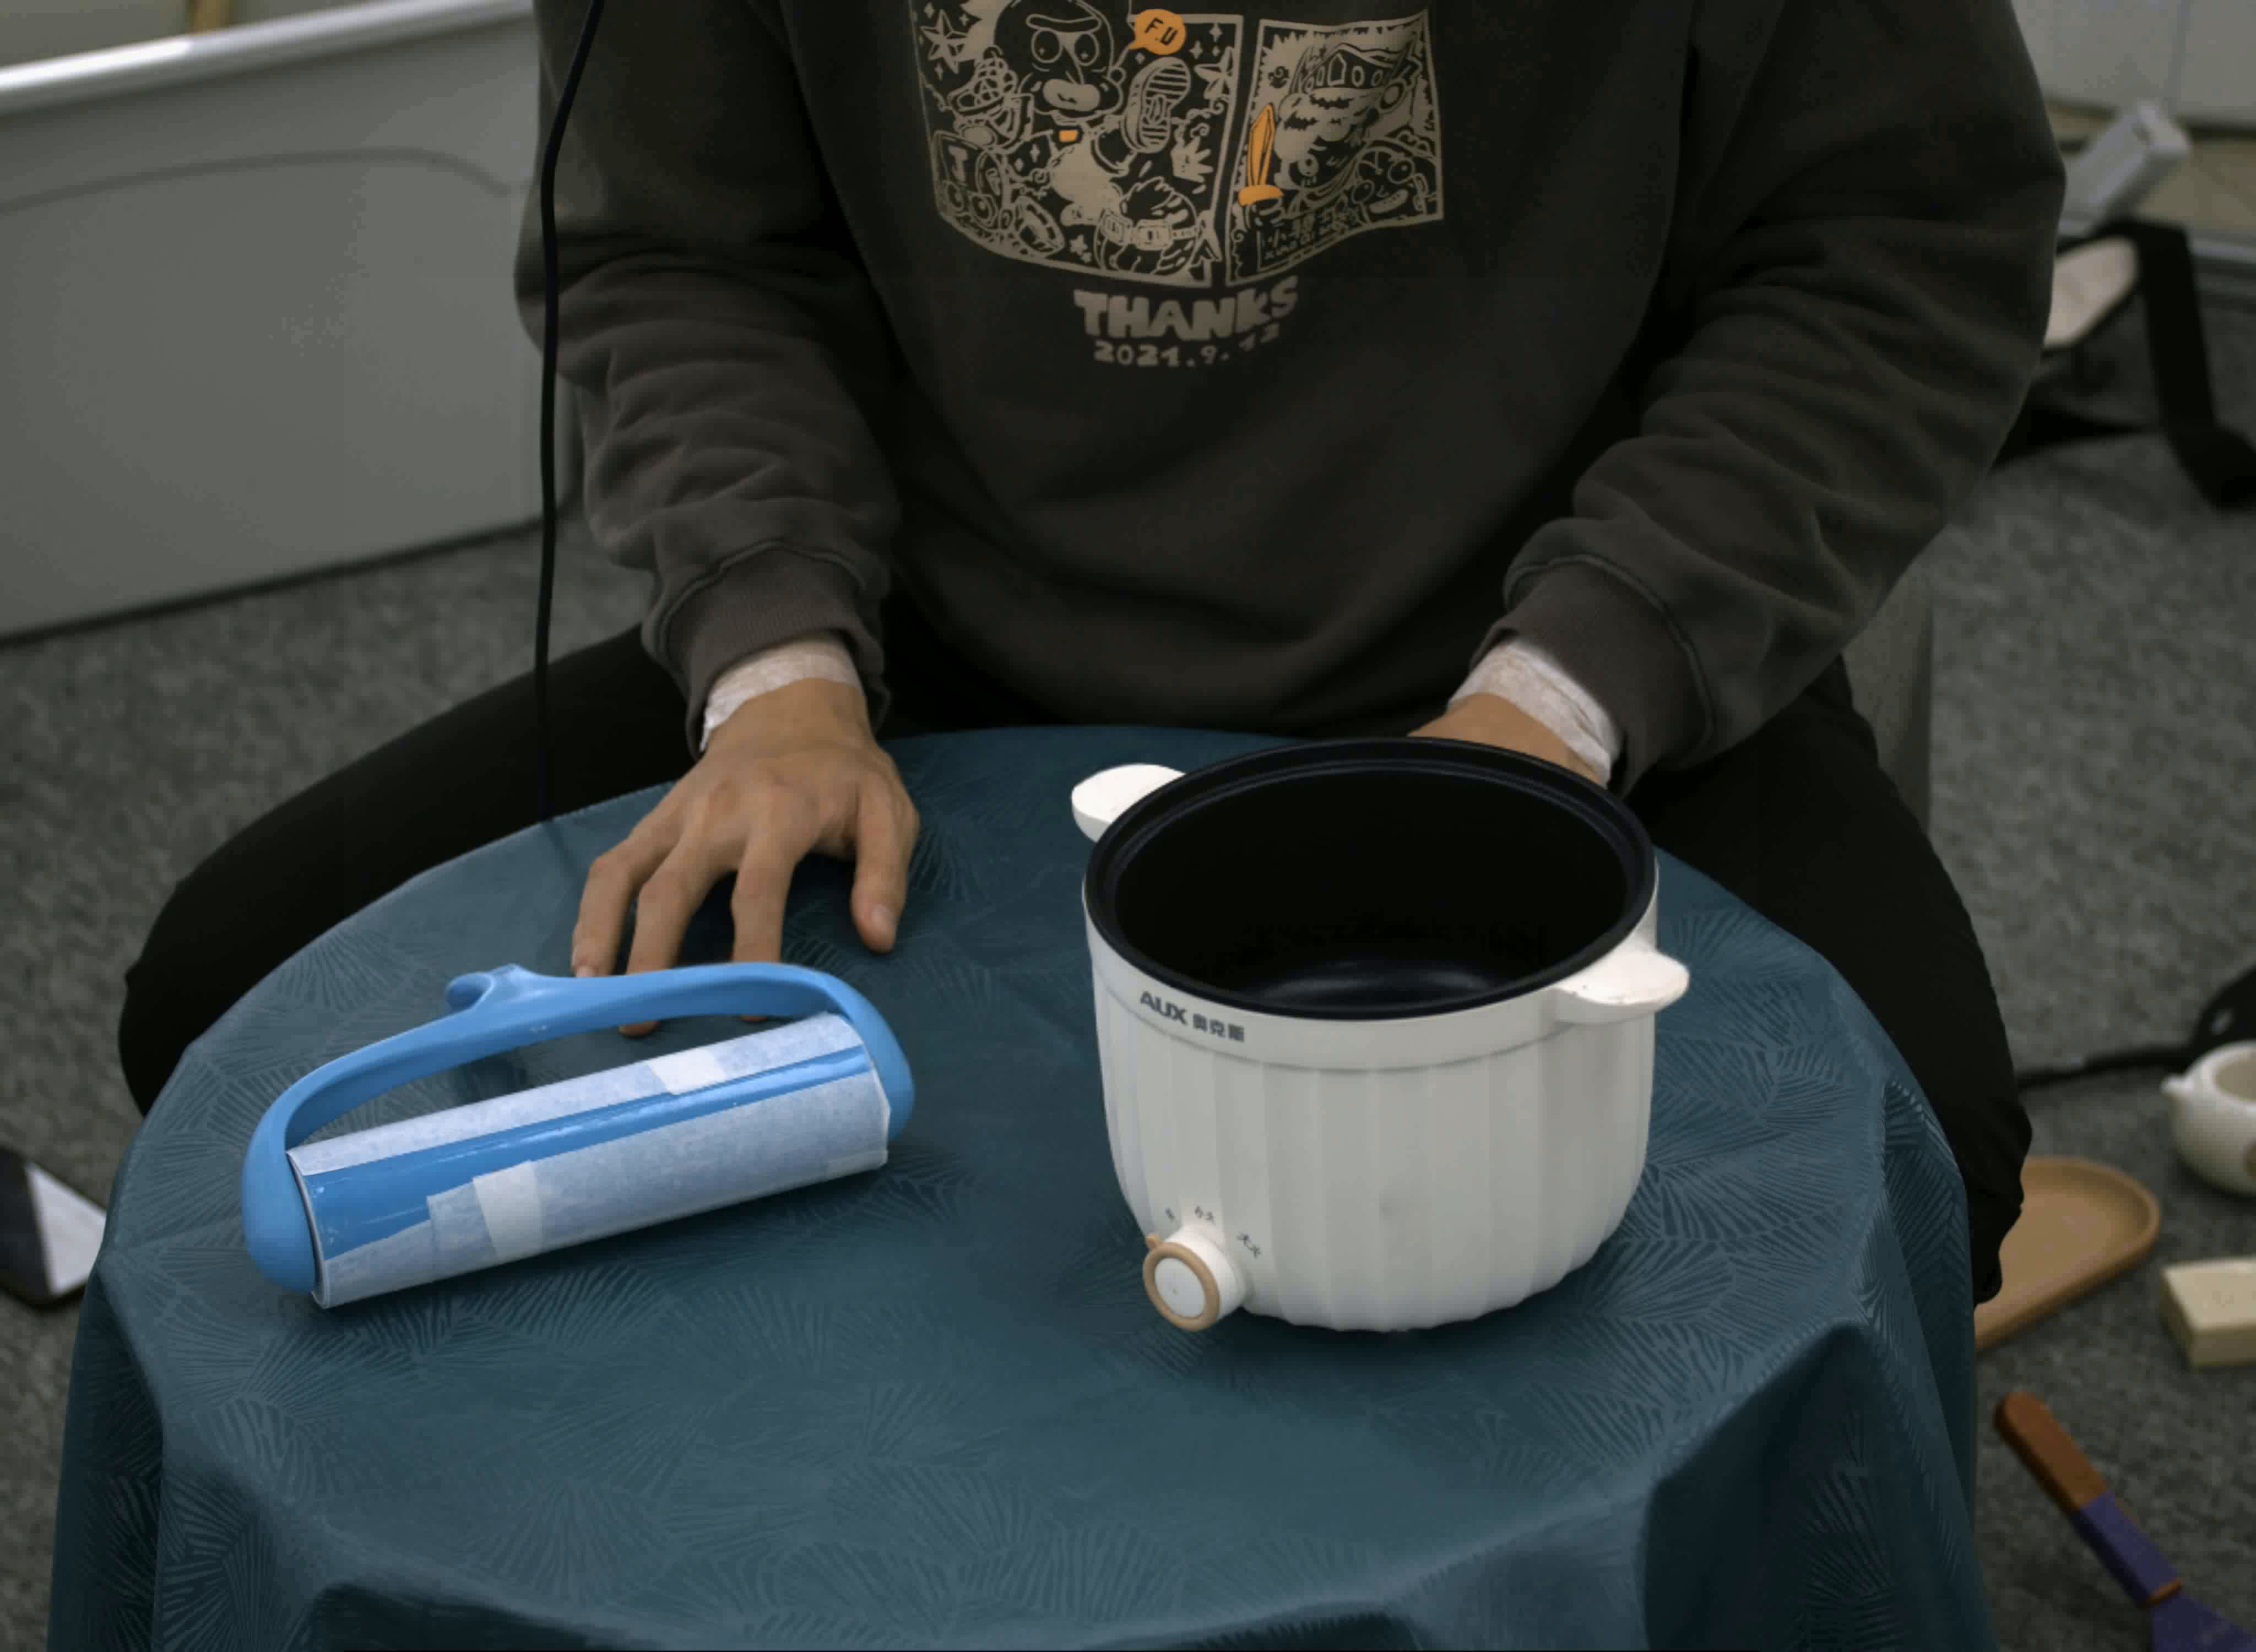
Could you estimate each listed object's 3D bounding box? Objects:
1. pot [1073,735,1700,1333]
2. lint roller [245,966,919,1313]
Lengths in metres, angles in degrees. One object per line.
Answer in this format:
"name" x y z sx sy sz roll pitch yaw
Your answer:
"pot" 0.078 0.073 1.797 0.239 0.141 0.193 18 31 37
"lint roller" -0.202 0.084 1.891 0.230 0.067 0.181 -16 31 -20
